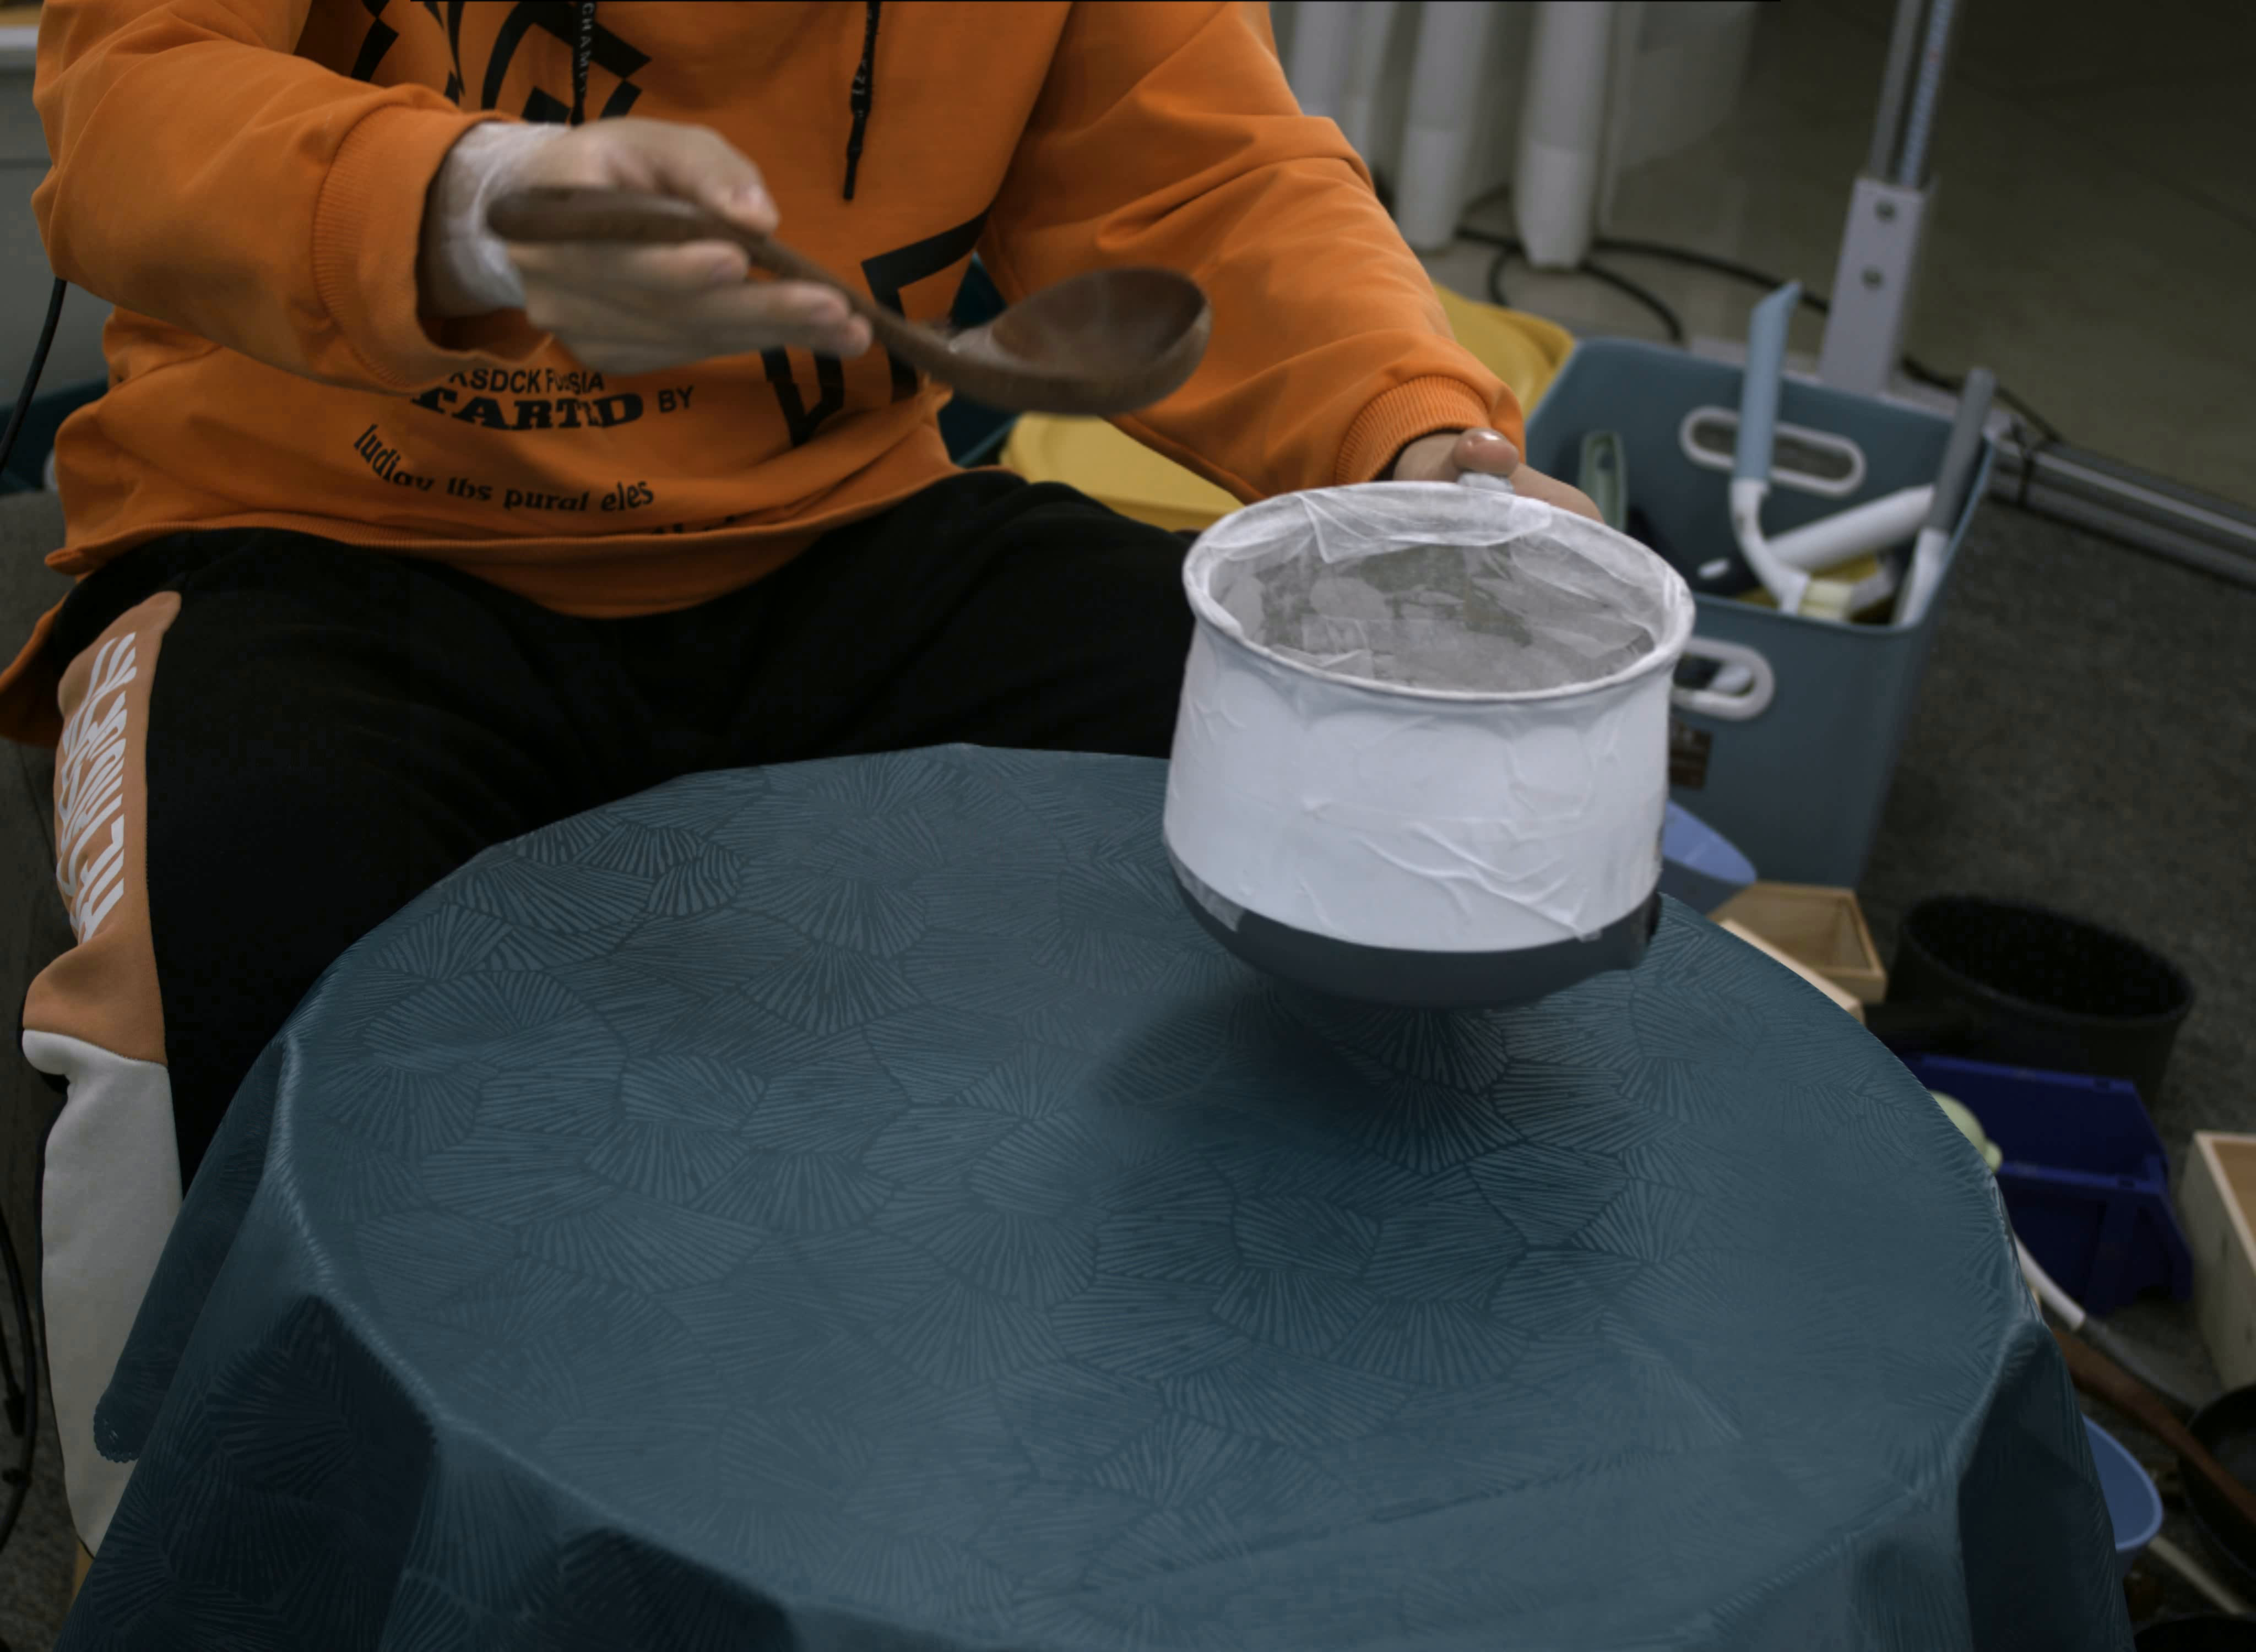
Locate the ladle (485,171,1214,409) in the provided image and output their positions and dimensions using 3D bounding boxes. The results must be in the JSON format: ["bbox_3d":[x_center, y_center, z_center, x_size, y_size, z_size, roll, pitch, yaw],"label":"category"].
[{"bbox_3d":[-0.086,-0.186,1.710,0.258,0.065,0.077,17,9,-34],"label":"ladle"}]

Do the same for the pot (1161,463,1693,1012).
[{"bbox_3d":[0.107,-0.039,1.884,0.178,0.136,0.234,9,27,8],"label":"pot"}]
